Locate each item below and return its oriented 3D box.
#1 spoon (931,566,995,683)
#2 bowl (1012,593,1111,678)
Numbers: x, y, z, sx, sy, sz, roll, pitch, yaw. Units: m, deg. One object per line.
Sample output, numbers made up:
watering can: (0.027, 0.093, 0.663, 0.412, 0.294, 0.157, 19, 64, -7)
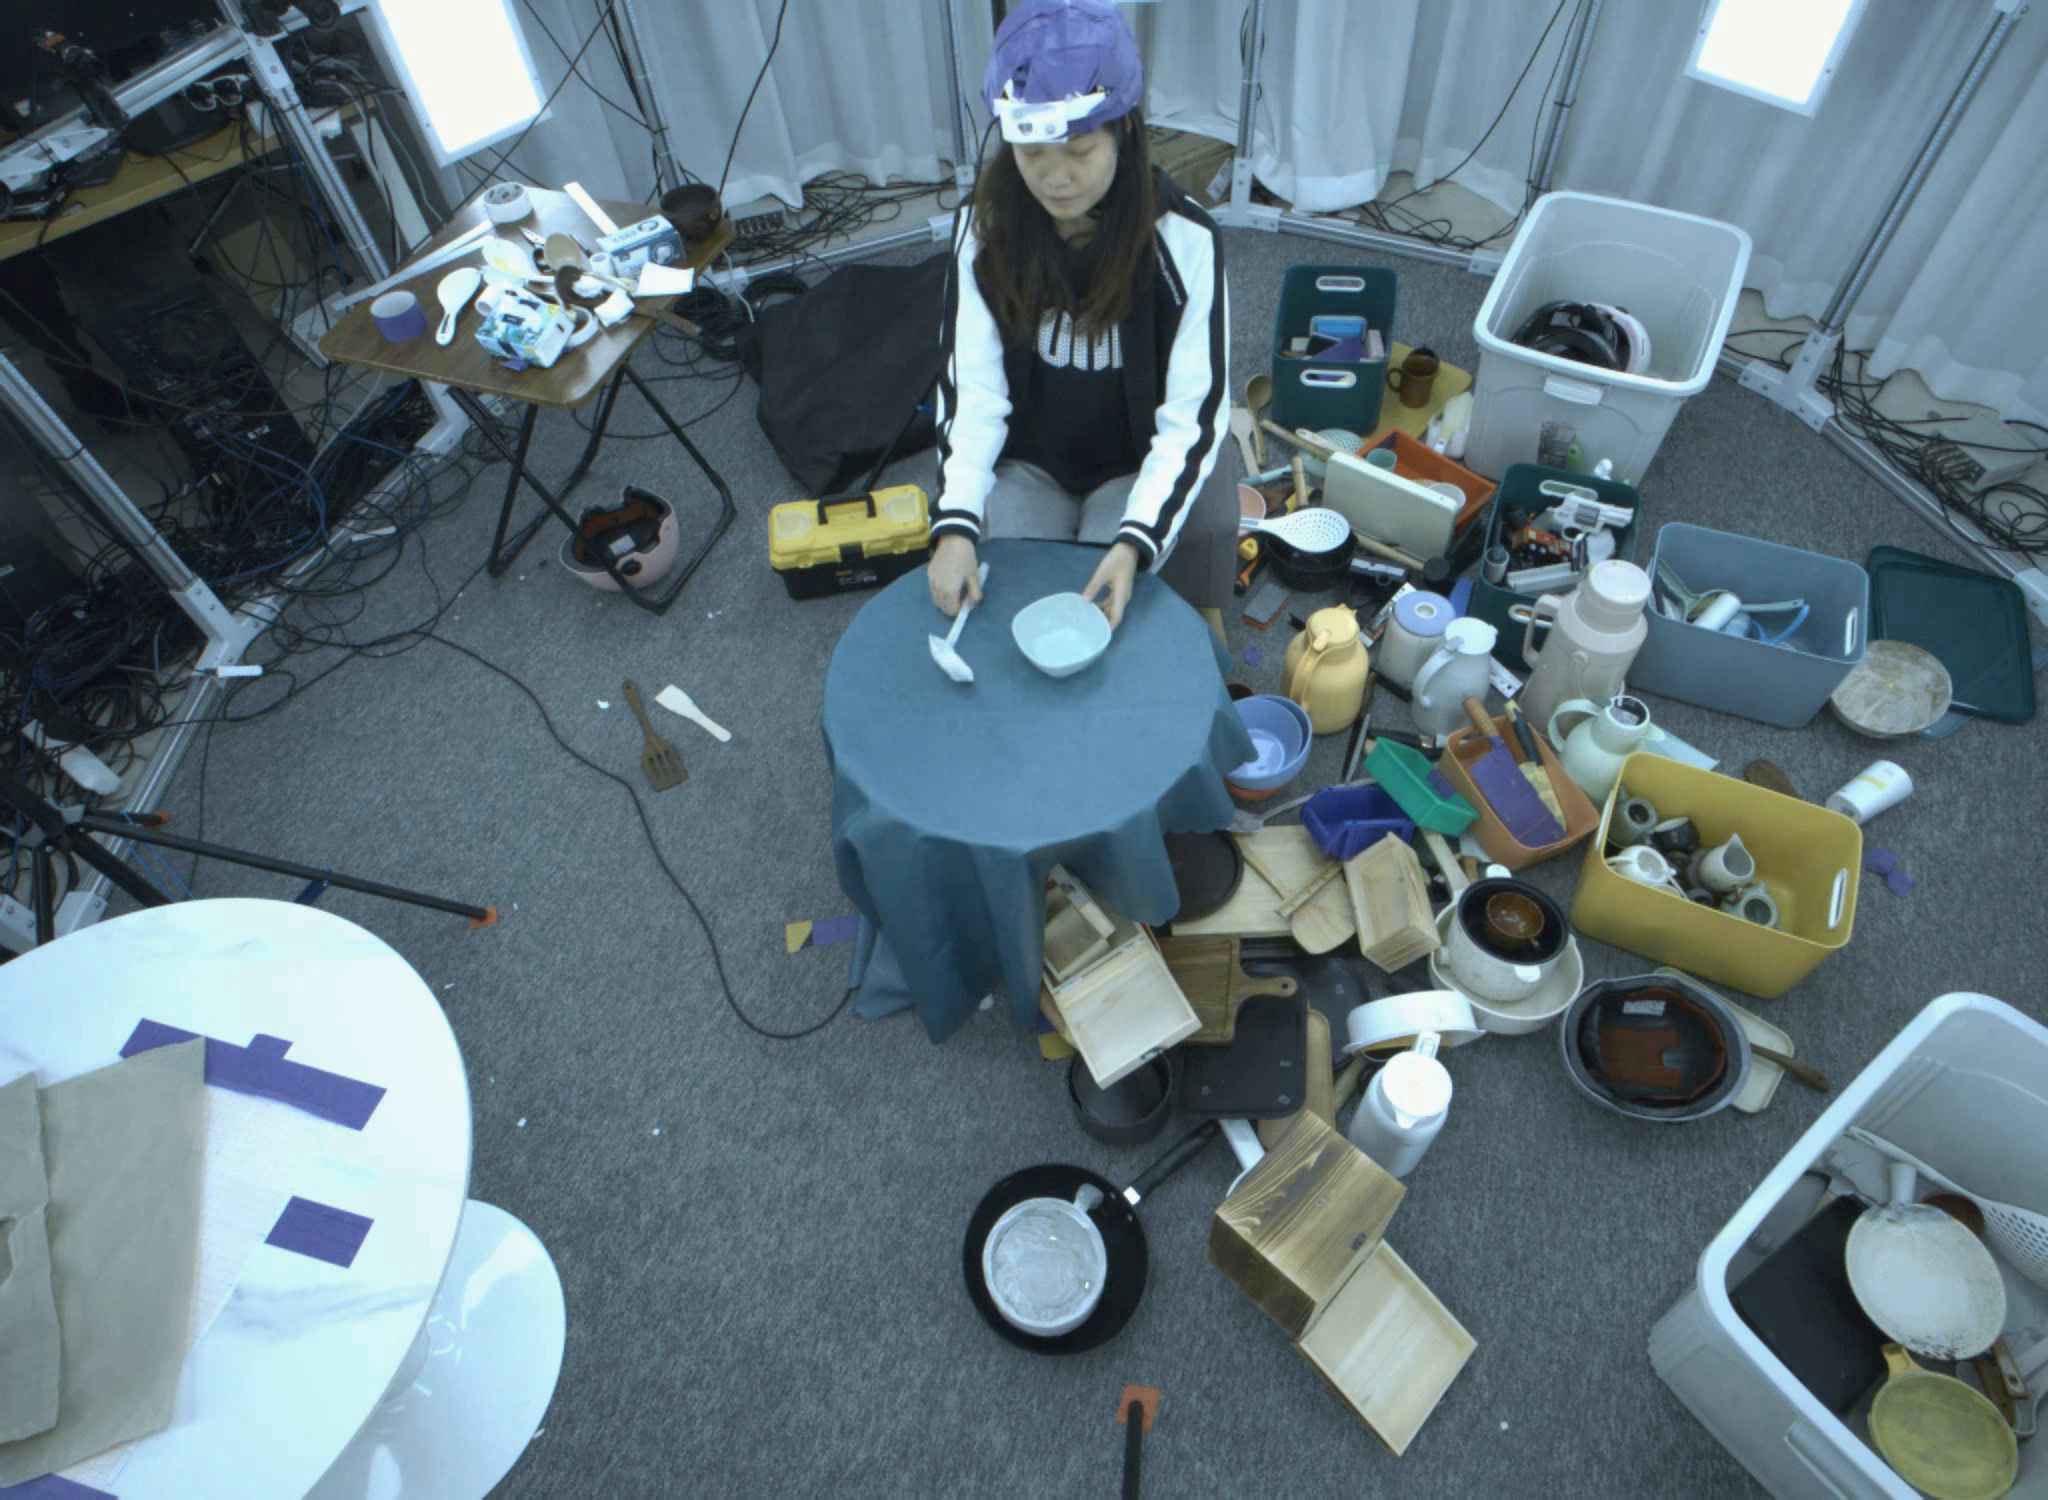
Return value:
spoon: (-0.076, -0.205, 1.905, 0.058, 0.102, 0.277, -17, 35, 39)
bowl: (0.058, -0.165, 1.870, 0.151, 0.059, 0.150, 0, 55, 2)
